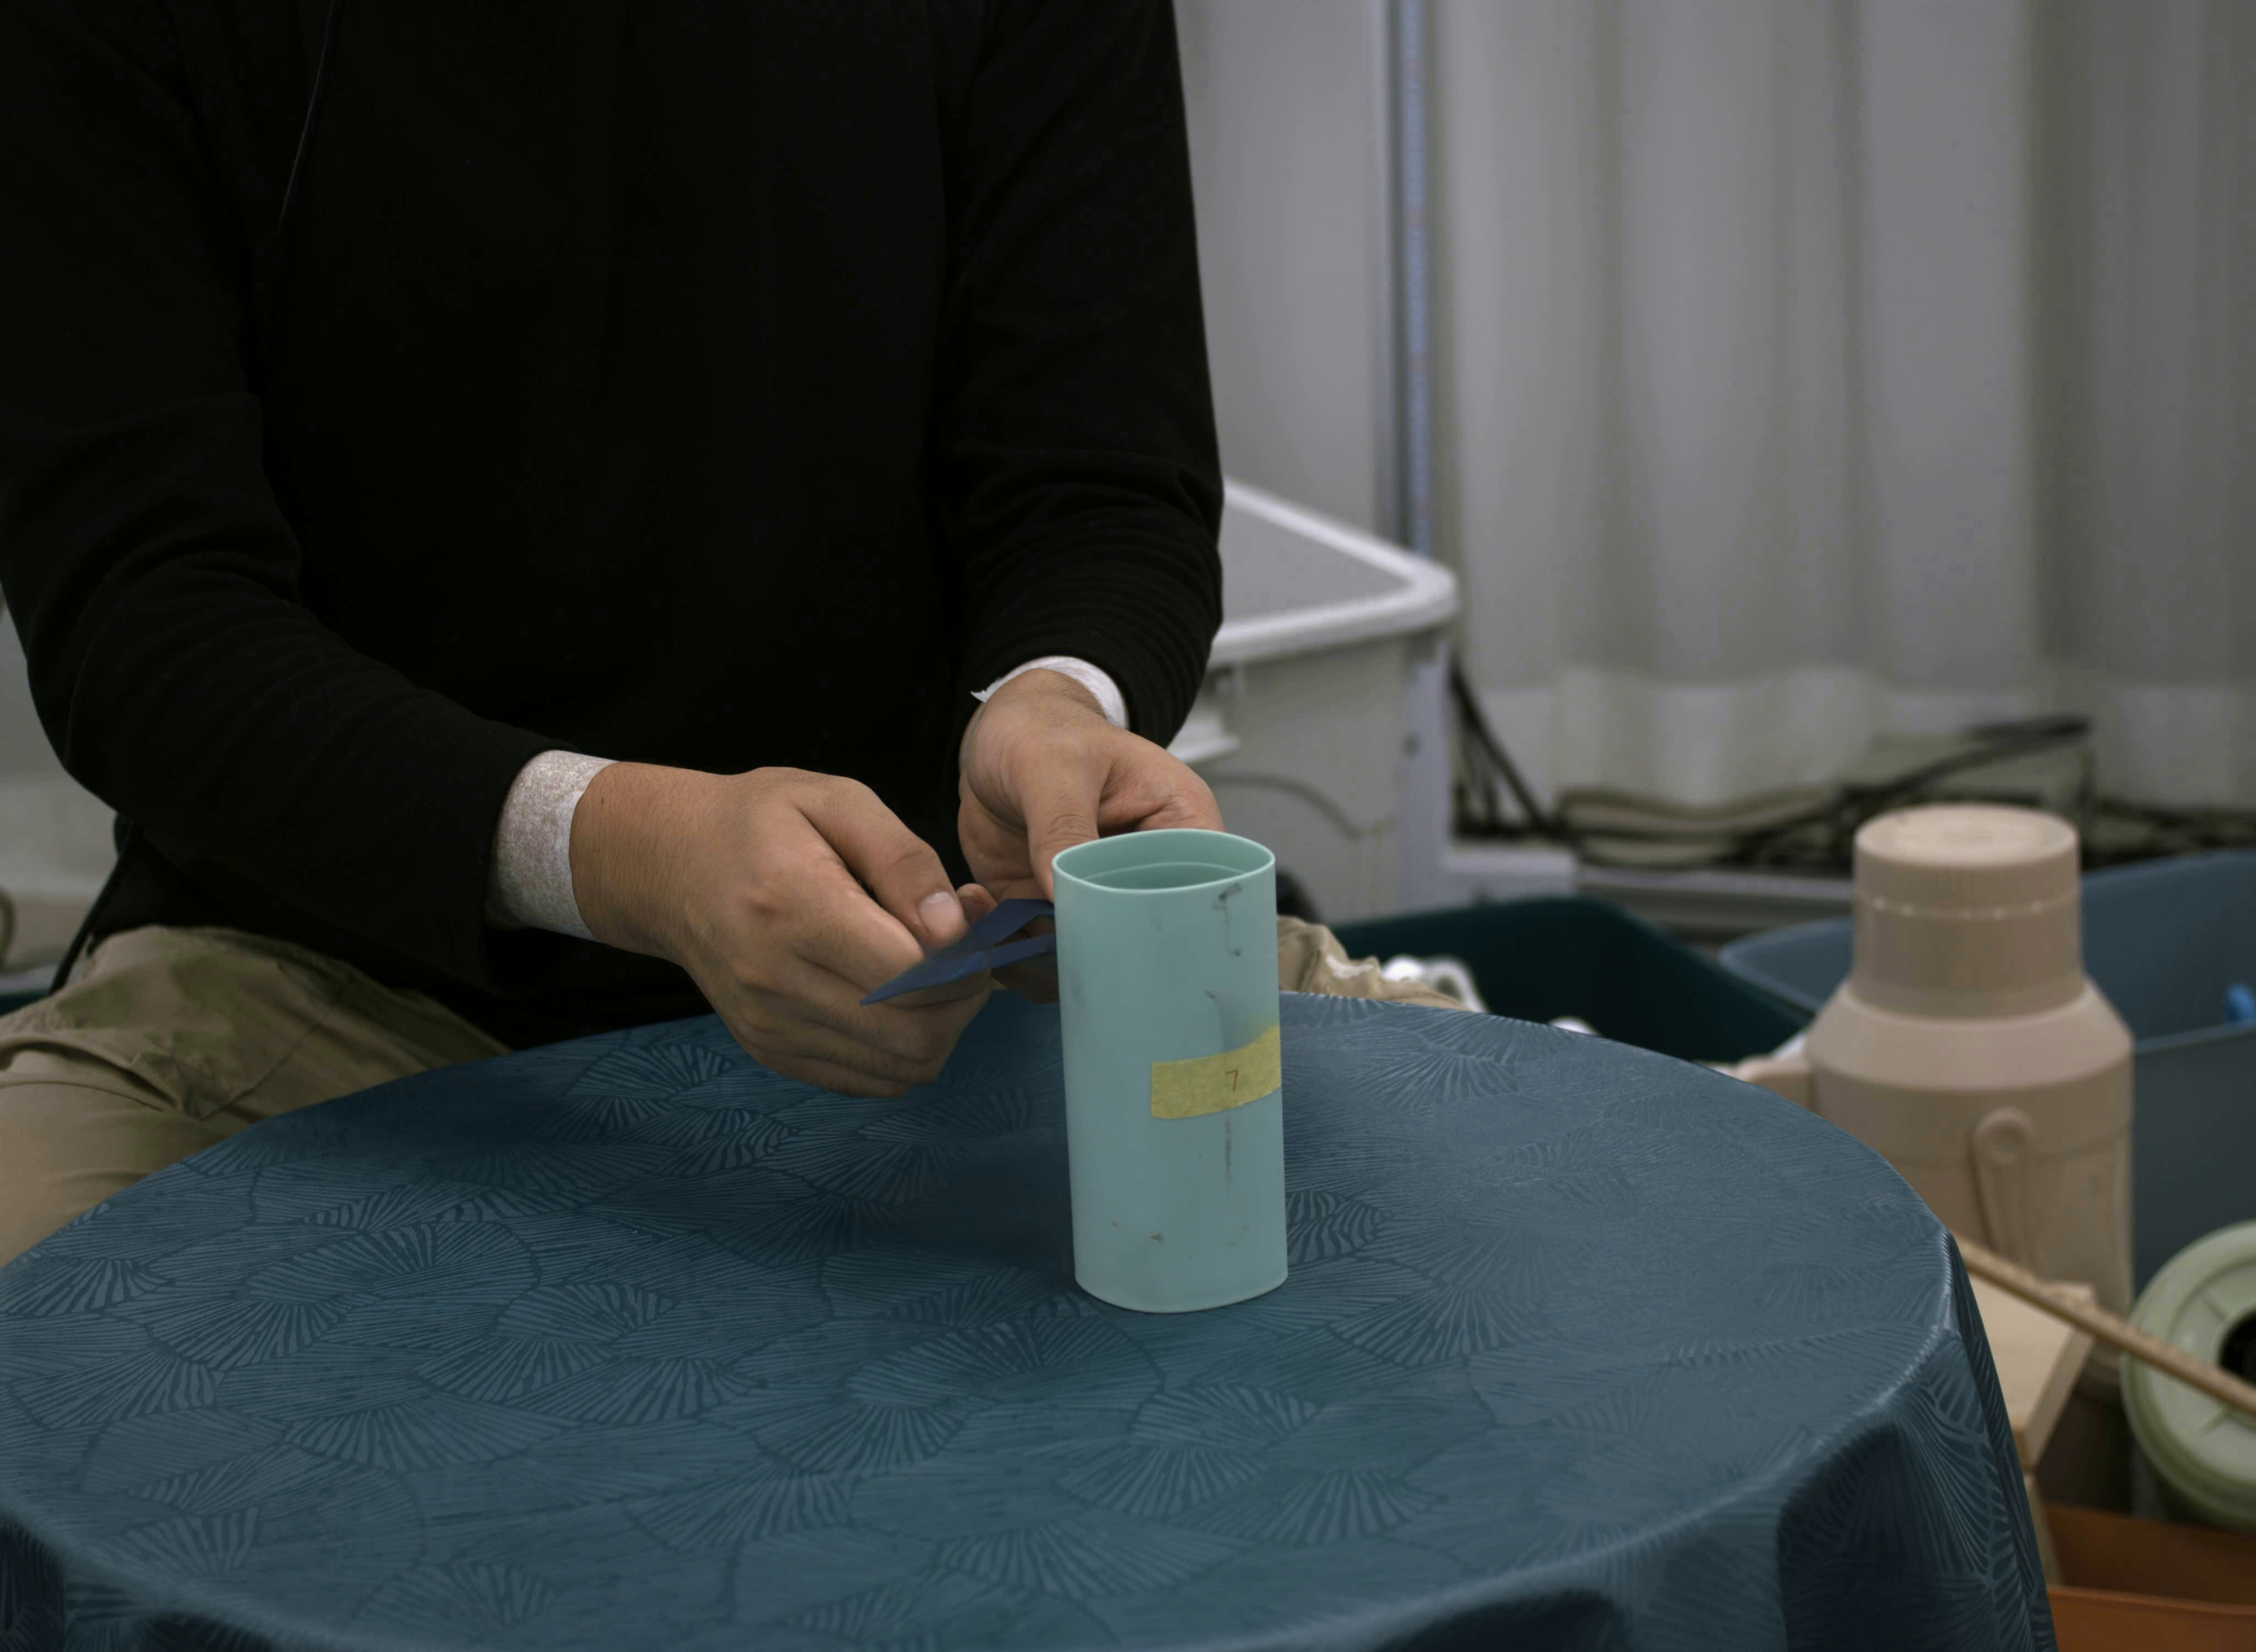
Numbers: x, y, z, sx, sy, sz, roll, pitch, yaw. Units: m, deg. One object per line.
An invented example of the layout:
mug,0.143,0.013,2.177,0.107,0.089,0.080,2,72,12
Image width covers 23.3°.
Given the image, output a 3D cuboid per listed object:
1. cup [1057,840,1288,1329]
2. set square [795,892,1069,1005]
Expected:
cup,0.013,0.075,1.619,0.066,0.132,0.067,-2,15,0
set square,-0.054,0.033,1.643,0.131,0.006,0.061,-14,19,-34
